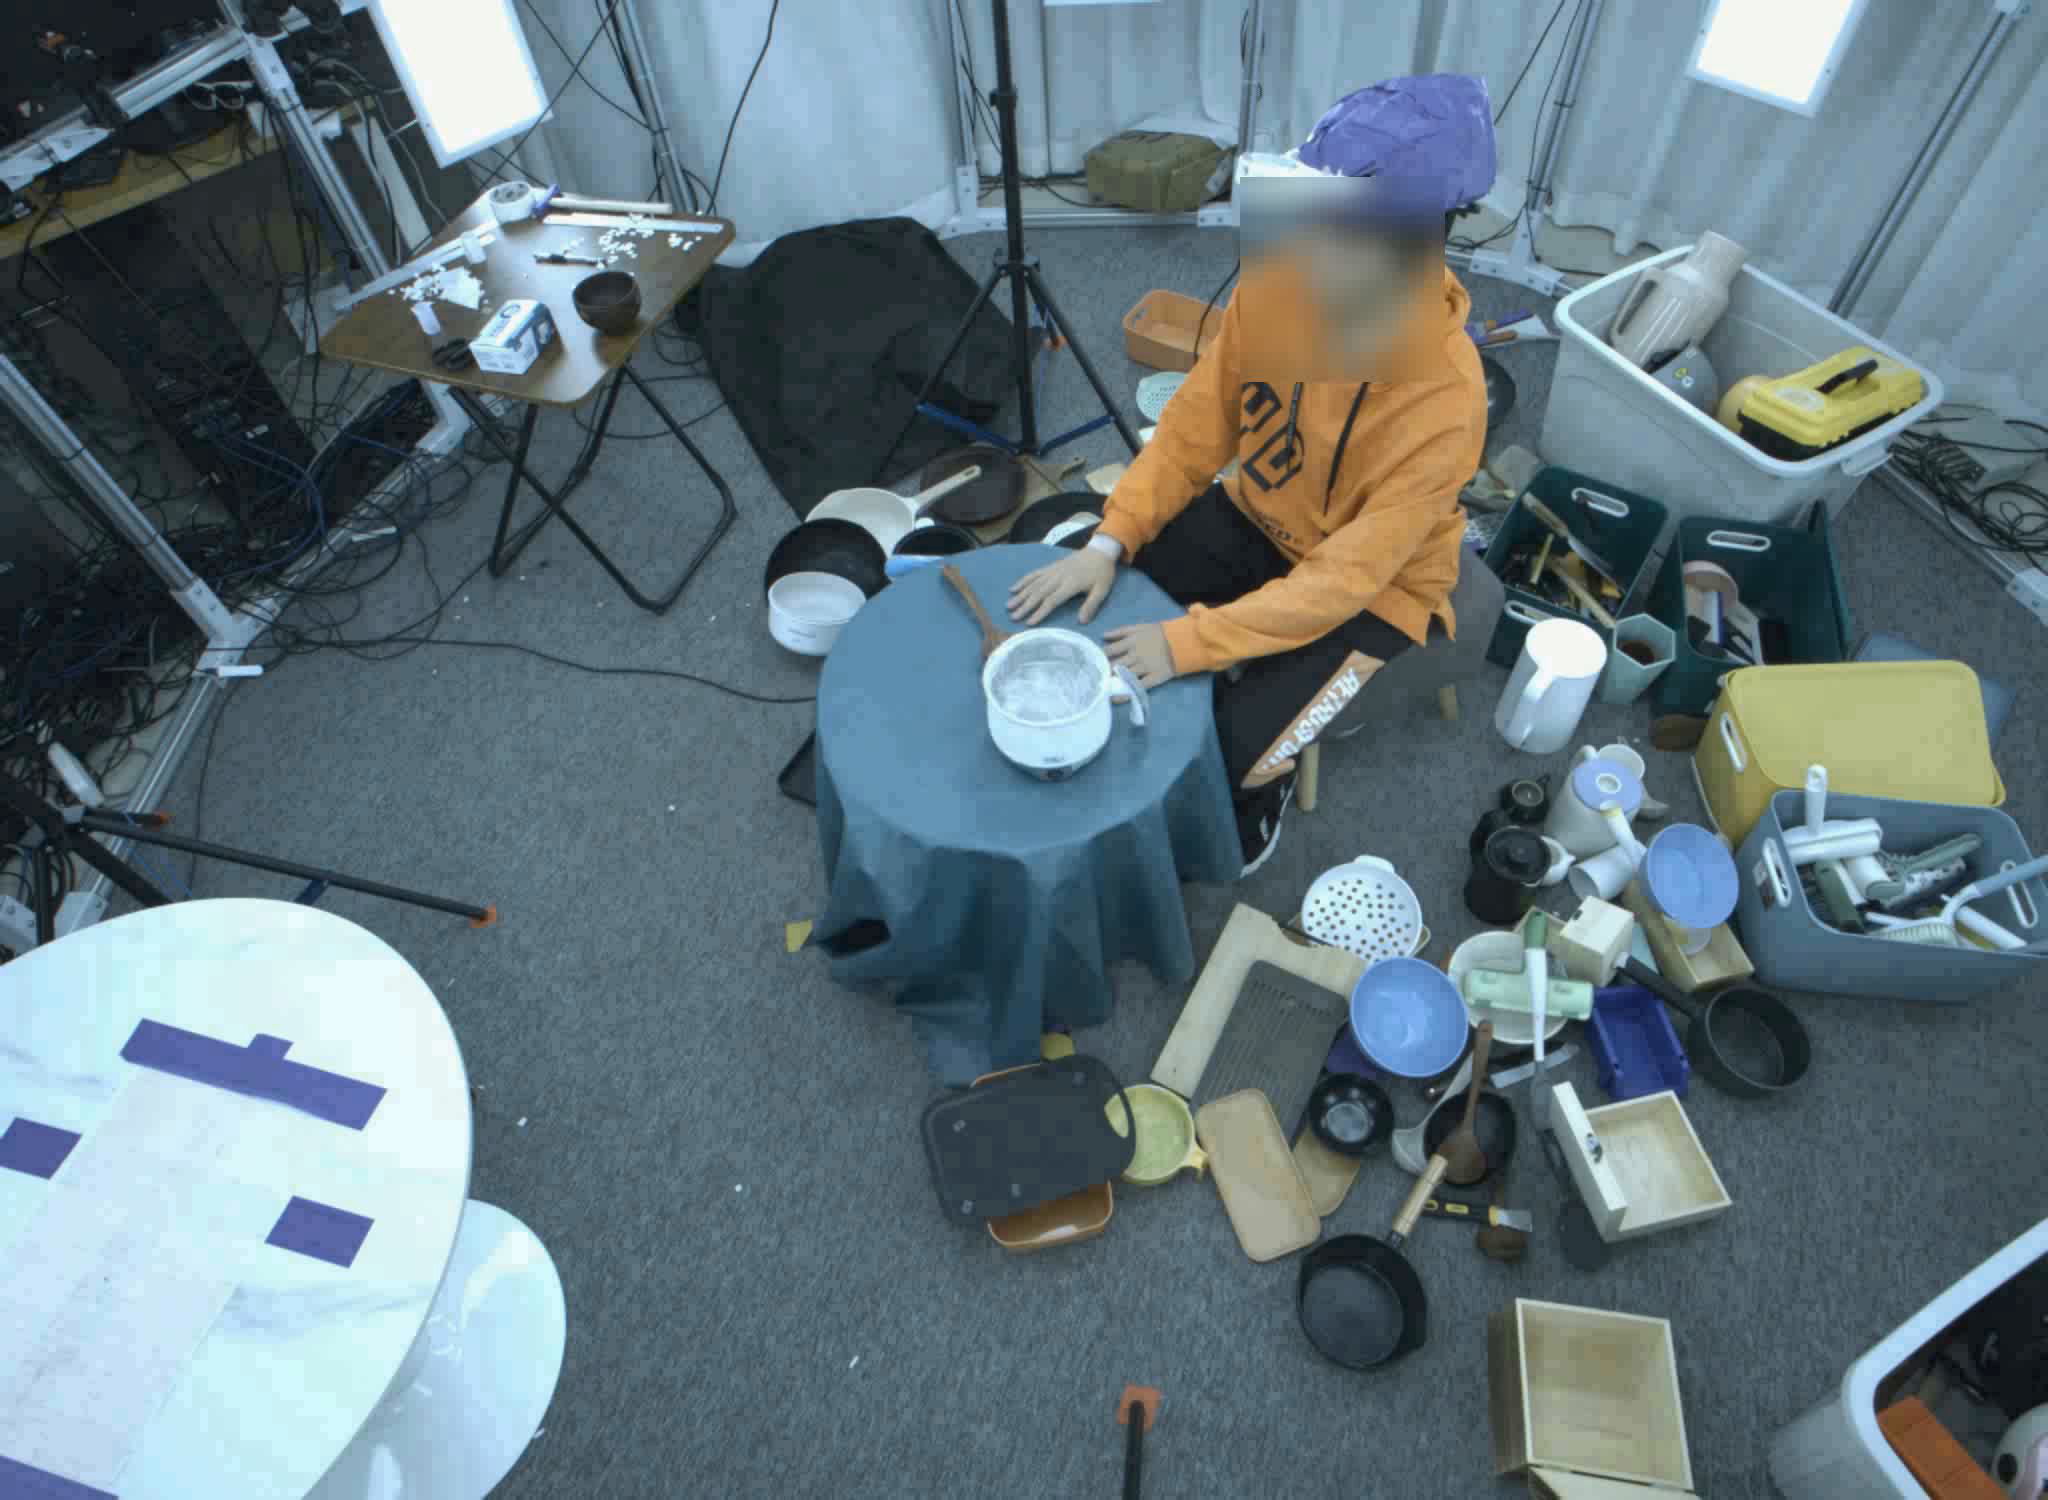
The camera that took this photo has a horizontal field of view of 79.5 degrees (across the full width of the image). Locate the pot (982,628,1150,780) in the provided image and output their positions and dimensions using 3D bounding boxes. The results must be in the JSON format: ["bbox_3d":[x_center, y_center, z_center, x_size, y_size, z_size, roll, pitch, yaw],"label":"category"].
[{"bbox_3d":[0.062,-0.068,1.748,0.234,0.138,0.176,-6,55,-1],"label":"pot"}]

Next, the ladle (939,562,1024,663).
[{"bbox_3d":[-0.076,-0.226,1.910,0.077,0.066,0.255,-22,57,-15],"label":"ladle"}]
